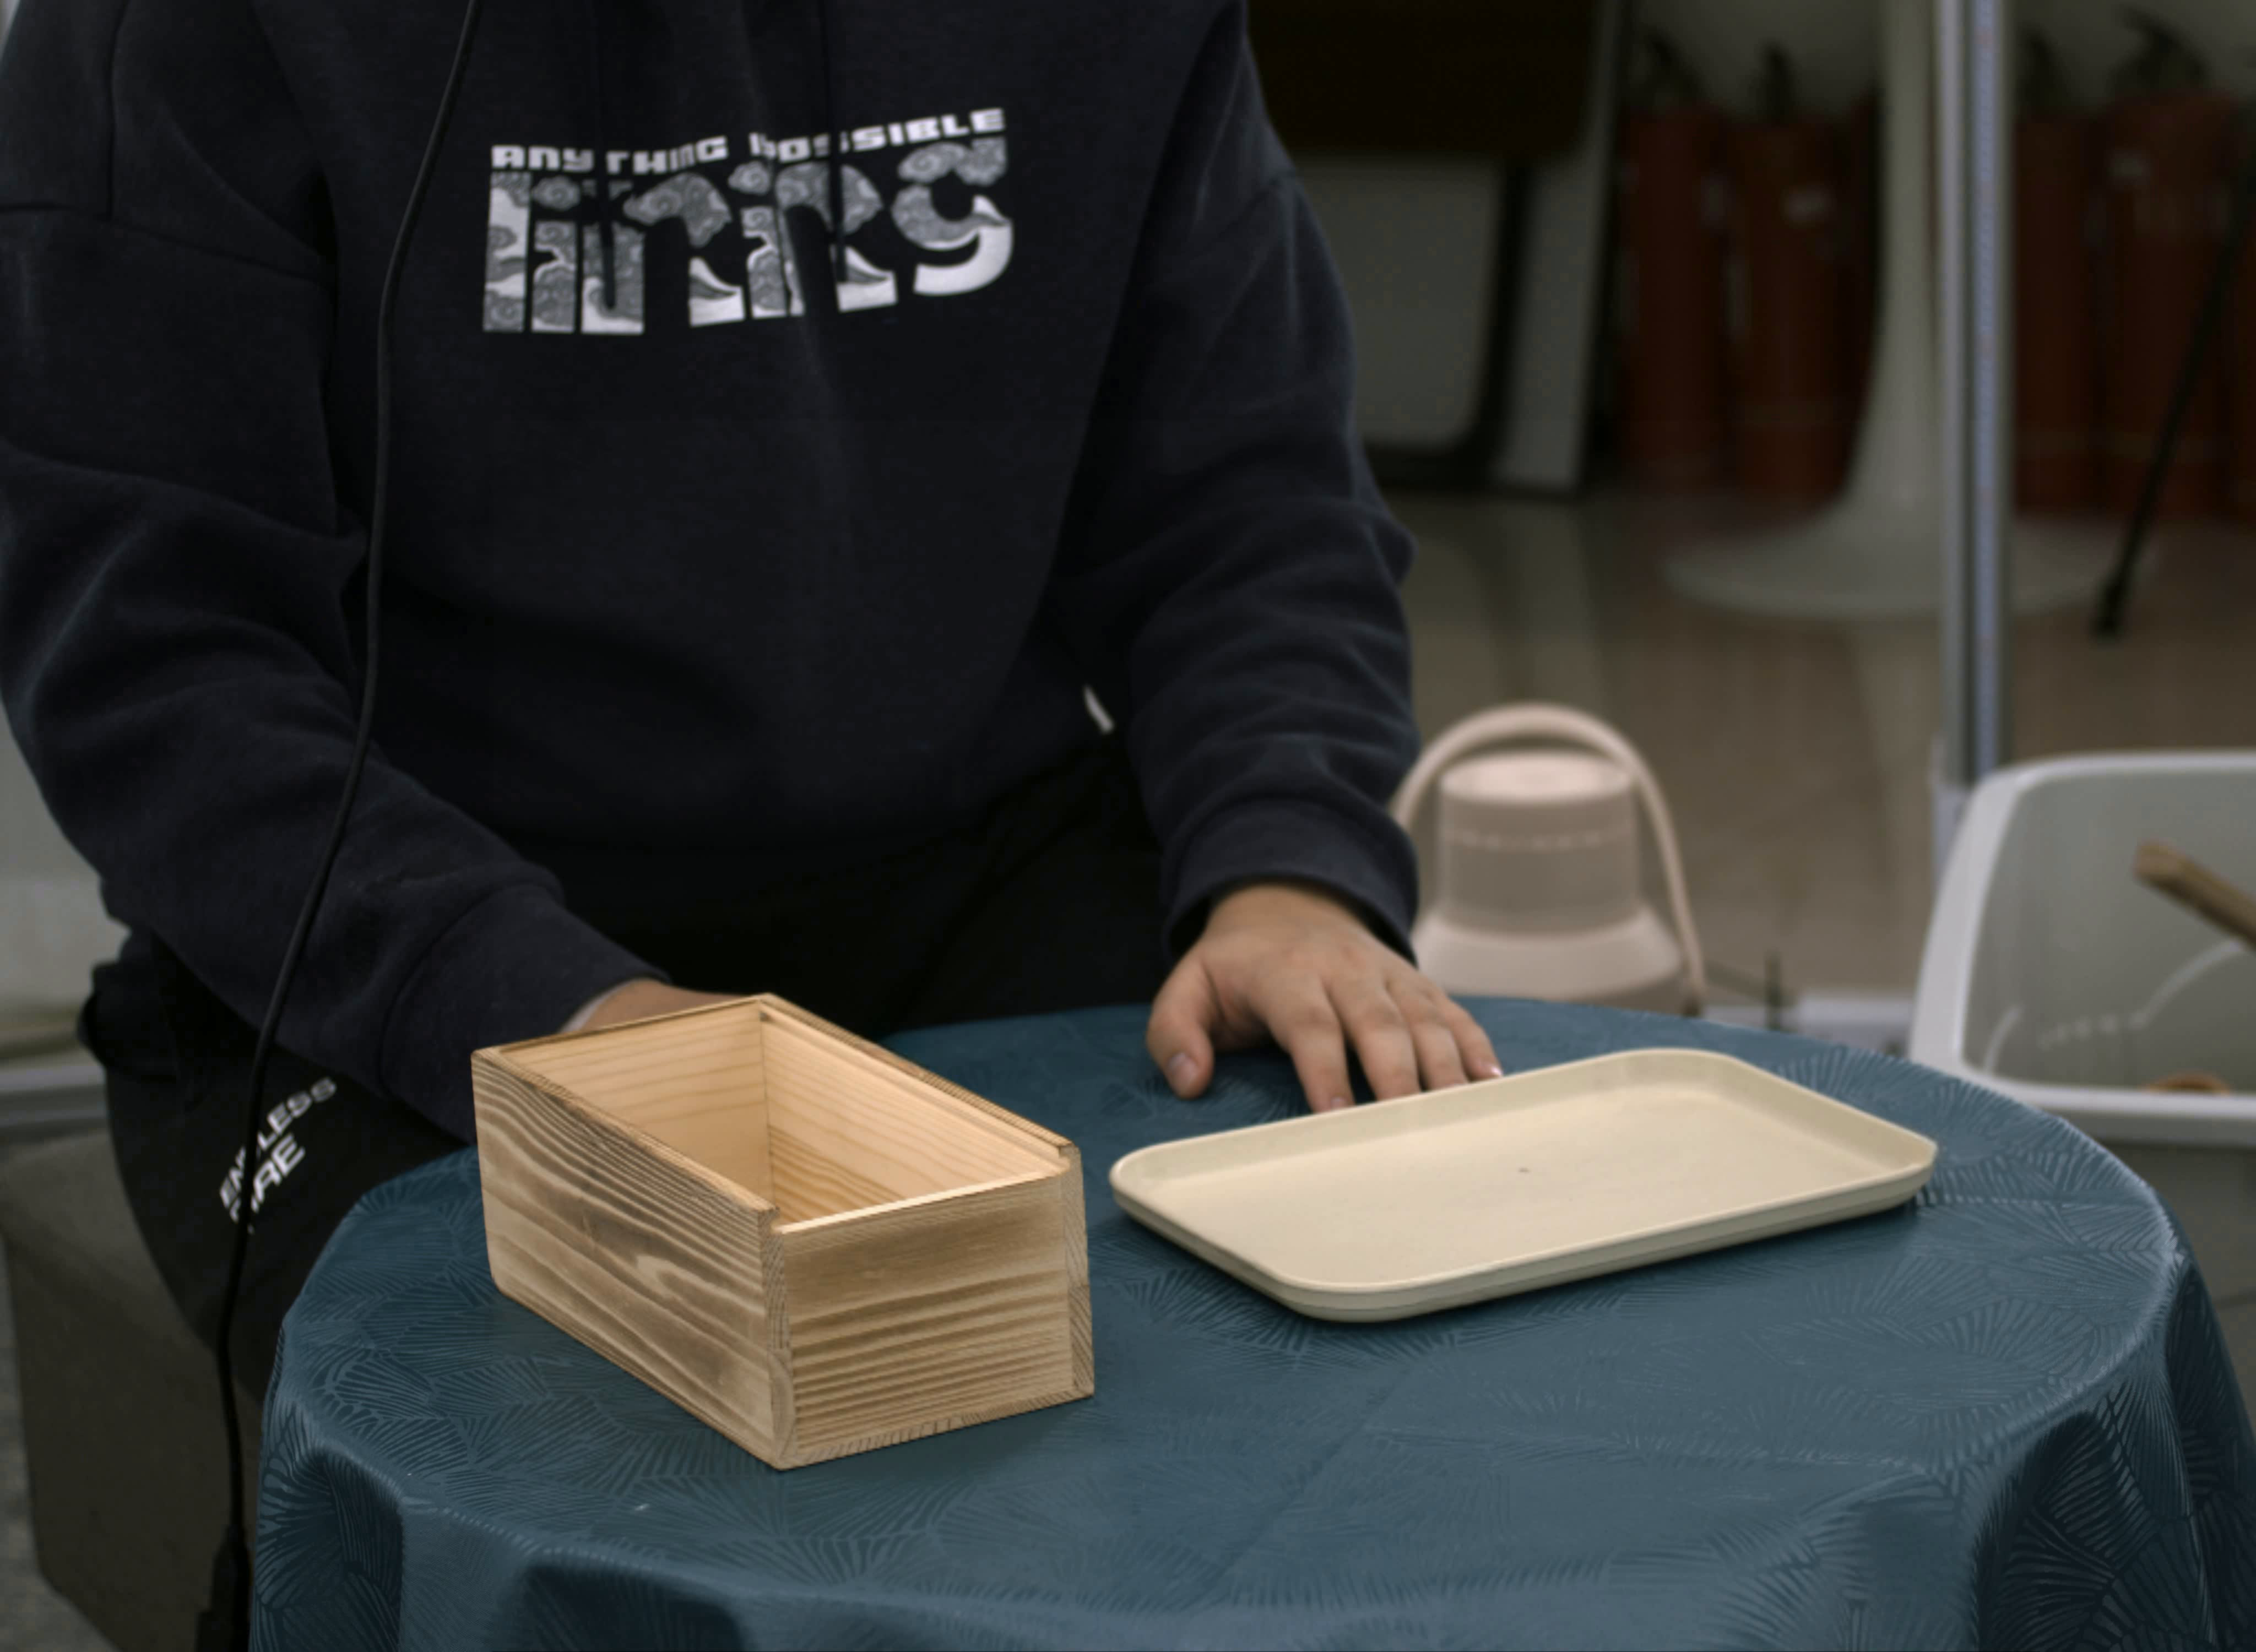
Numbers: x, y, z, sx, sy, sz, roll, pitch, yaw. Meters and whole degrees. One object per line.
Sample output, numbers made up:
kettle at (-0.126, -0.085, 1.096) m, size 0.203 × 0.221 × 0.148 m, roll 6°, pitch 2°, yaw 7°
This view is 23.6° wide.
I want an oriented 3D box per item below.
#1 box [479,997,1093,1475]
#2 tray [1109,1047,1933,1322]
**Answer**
box at (-0.107, 0.120, 1.642) m, size 0.105 × 0.081 × 0.213 m, roll -10°, pitch 15°, yaw -27°
tray at (0.126, 0.114, 1.730) m, size 0.234 × 0.017 × 0.173 m, roll -11°, pitch 15°, yaw -24°
